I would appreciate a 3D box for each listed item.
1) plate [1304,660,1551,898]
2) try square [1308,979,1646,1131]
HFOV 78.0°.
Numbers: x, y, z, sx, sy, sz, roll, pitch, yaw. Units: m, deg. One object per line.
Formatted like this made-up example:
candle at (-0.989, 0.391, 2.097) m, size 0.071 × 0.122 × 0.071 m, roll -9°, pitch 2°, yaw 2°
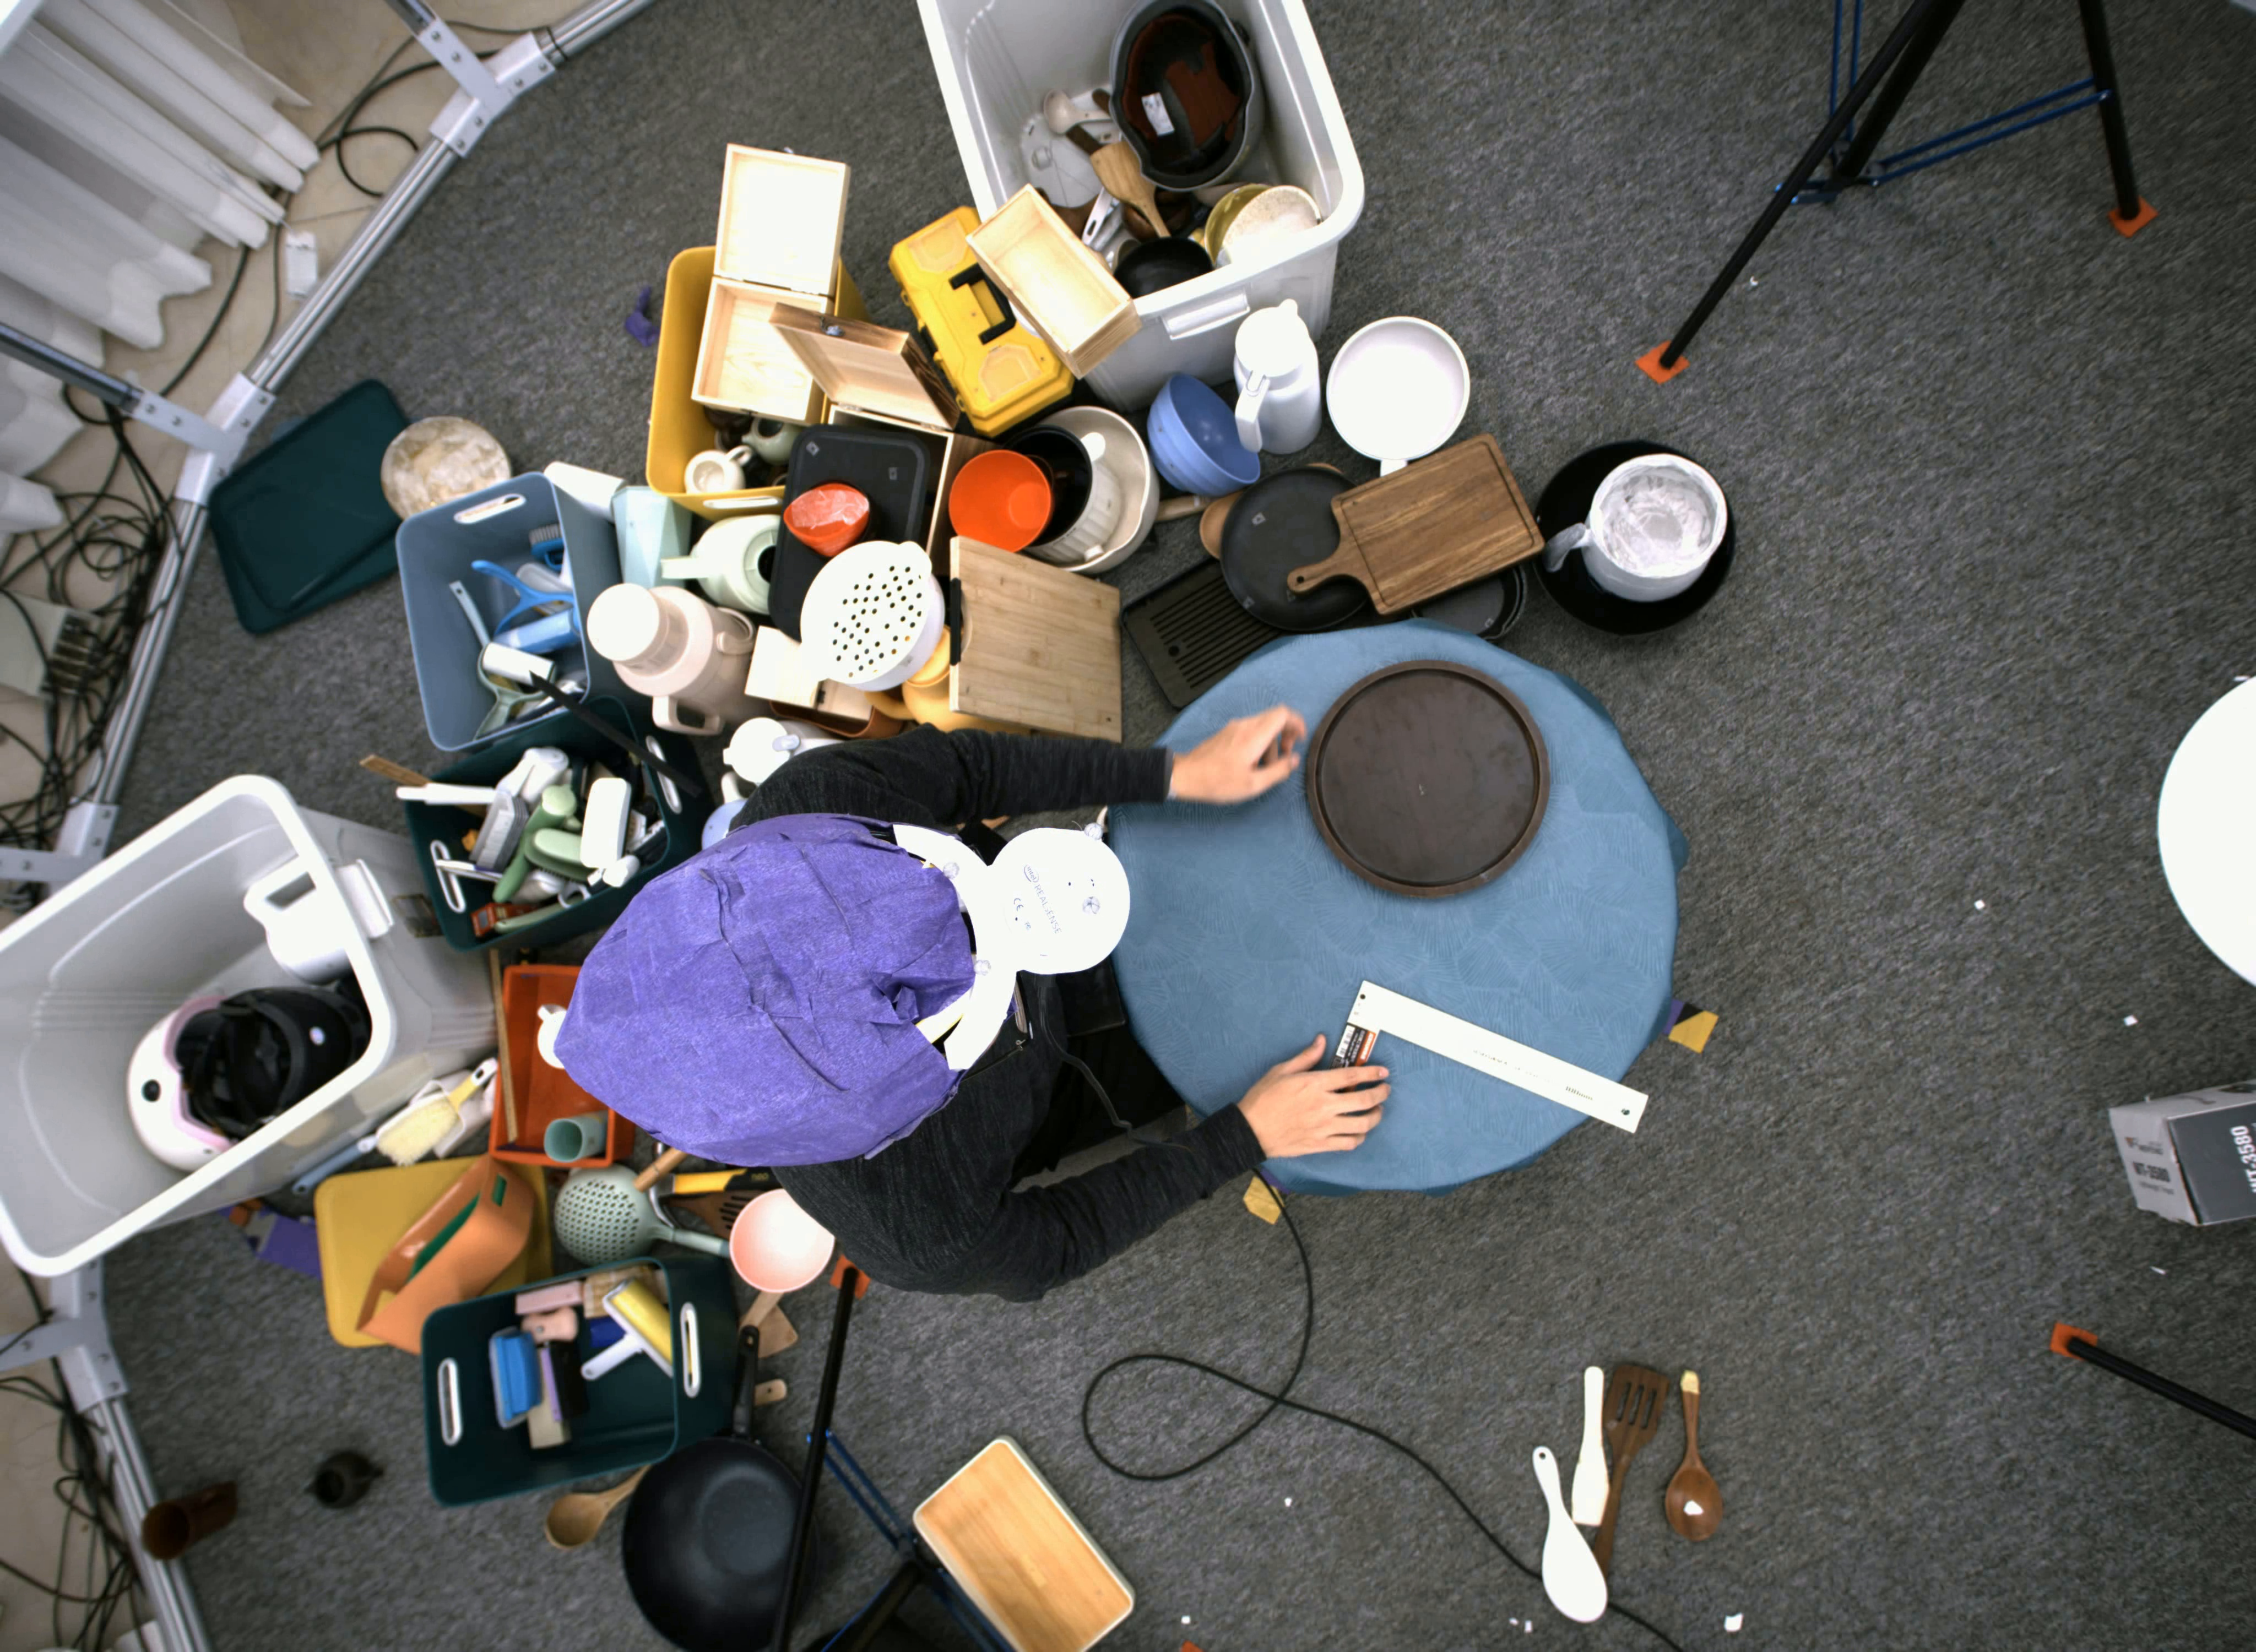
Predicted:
plate at (0.314, -0.051, 1.447) m, size 0.256 × 0.029 × 0.254 m, roll -1°, pitch 88°, yaw 10°
try square at (0.358, 0.284, 1.428) m, size 0.313 × 0.016 × 0.152 m, roll 22°, pitch 91°, yaw 10°
